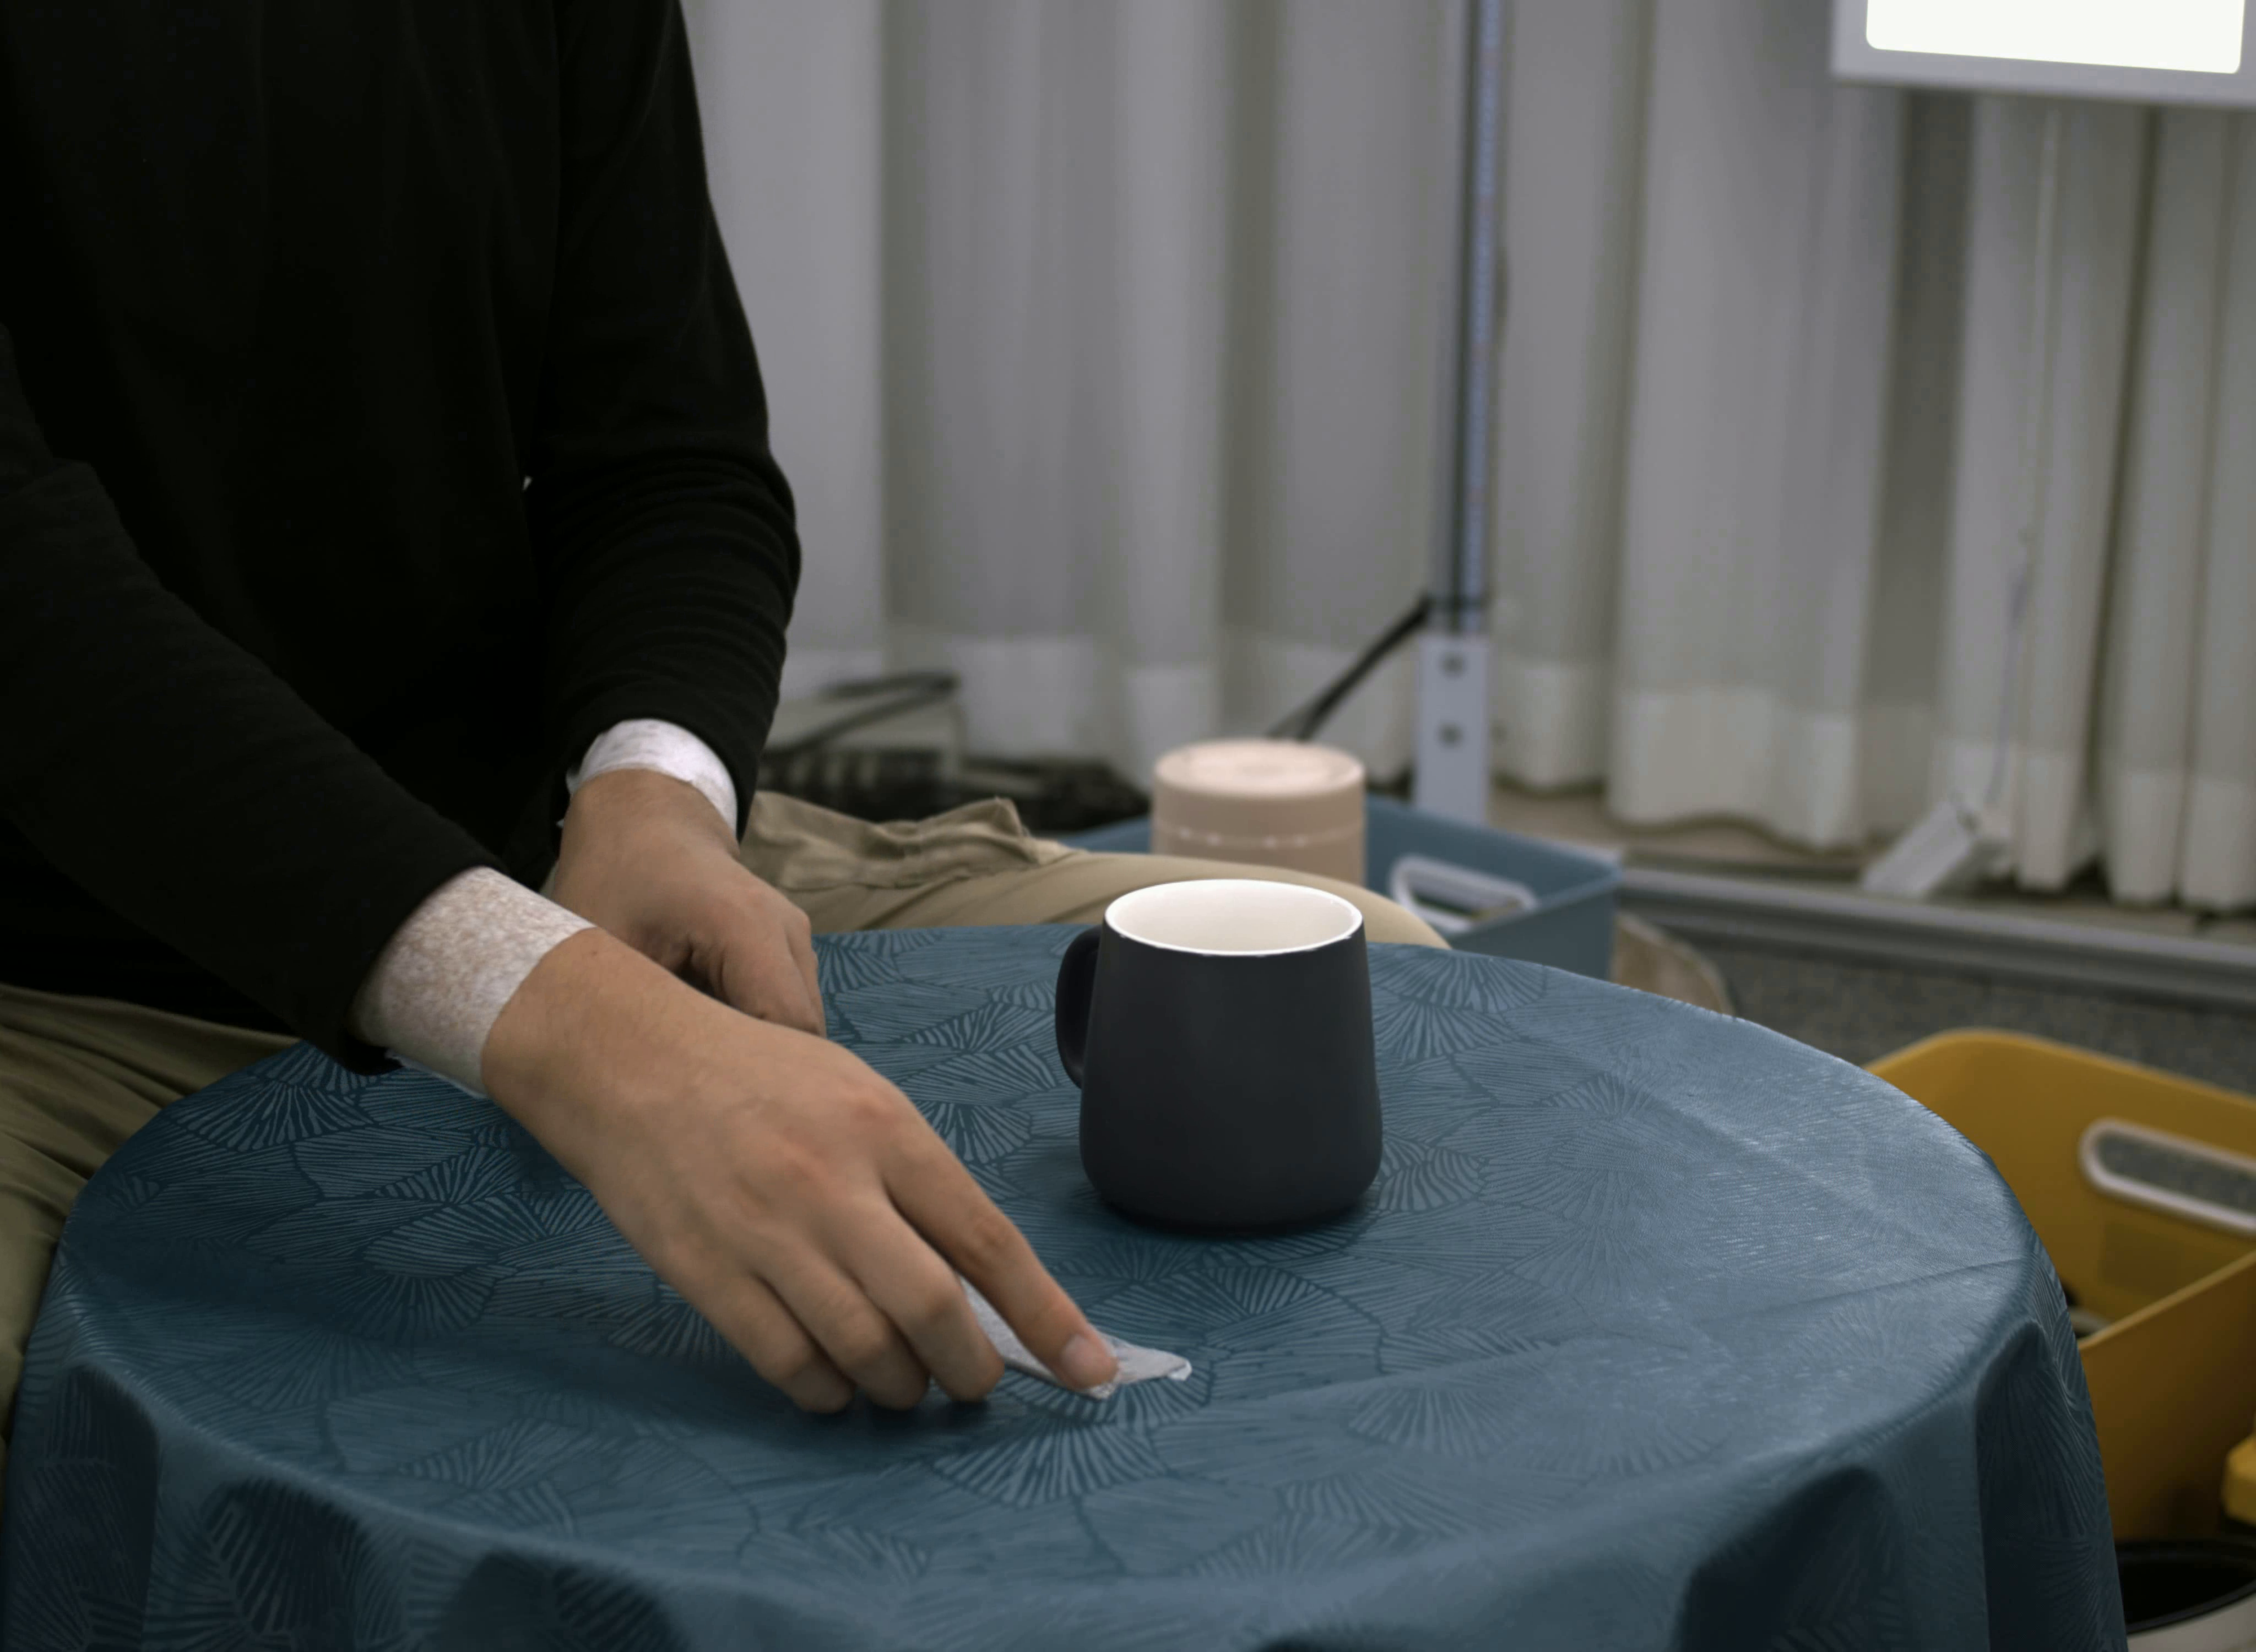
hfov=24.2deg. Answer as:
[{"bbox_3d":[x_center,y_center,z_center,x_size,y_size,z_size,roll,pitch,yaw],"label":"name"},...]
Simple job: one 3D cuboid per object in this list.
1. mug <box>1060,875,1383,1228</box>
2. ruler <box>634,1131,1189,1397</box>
[{"bbox_3d":[0.023,0.065,1.616,0.094,0.090,0.121,-12,21,-39],"label":"mug"},{"bbox_3d":[-0.070,0.124,1.533,0.038,0.024,0.215,-24,26,-39],"label":"ruler"}]
